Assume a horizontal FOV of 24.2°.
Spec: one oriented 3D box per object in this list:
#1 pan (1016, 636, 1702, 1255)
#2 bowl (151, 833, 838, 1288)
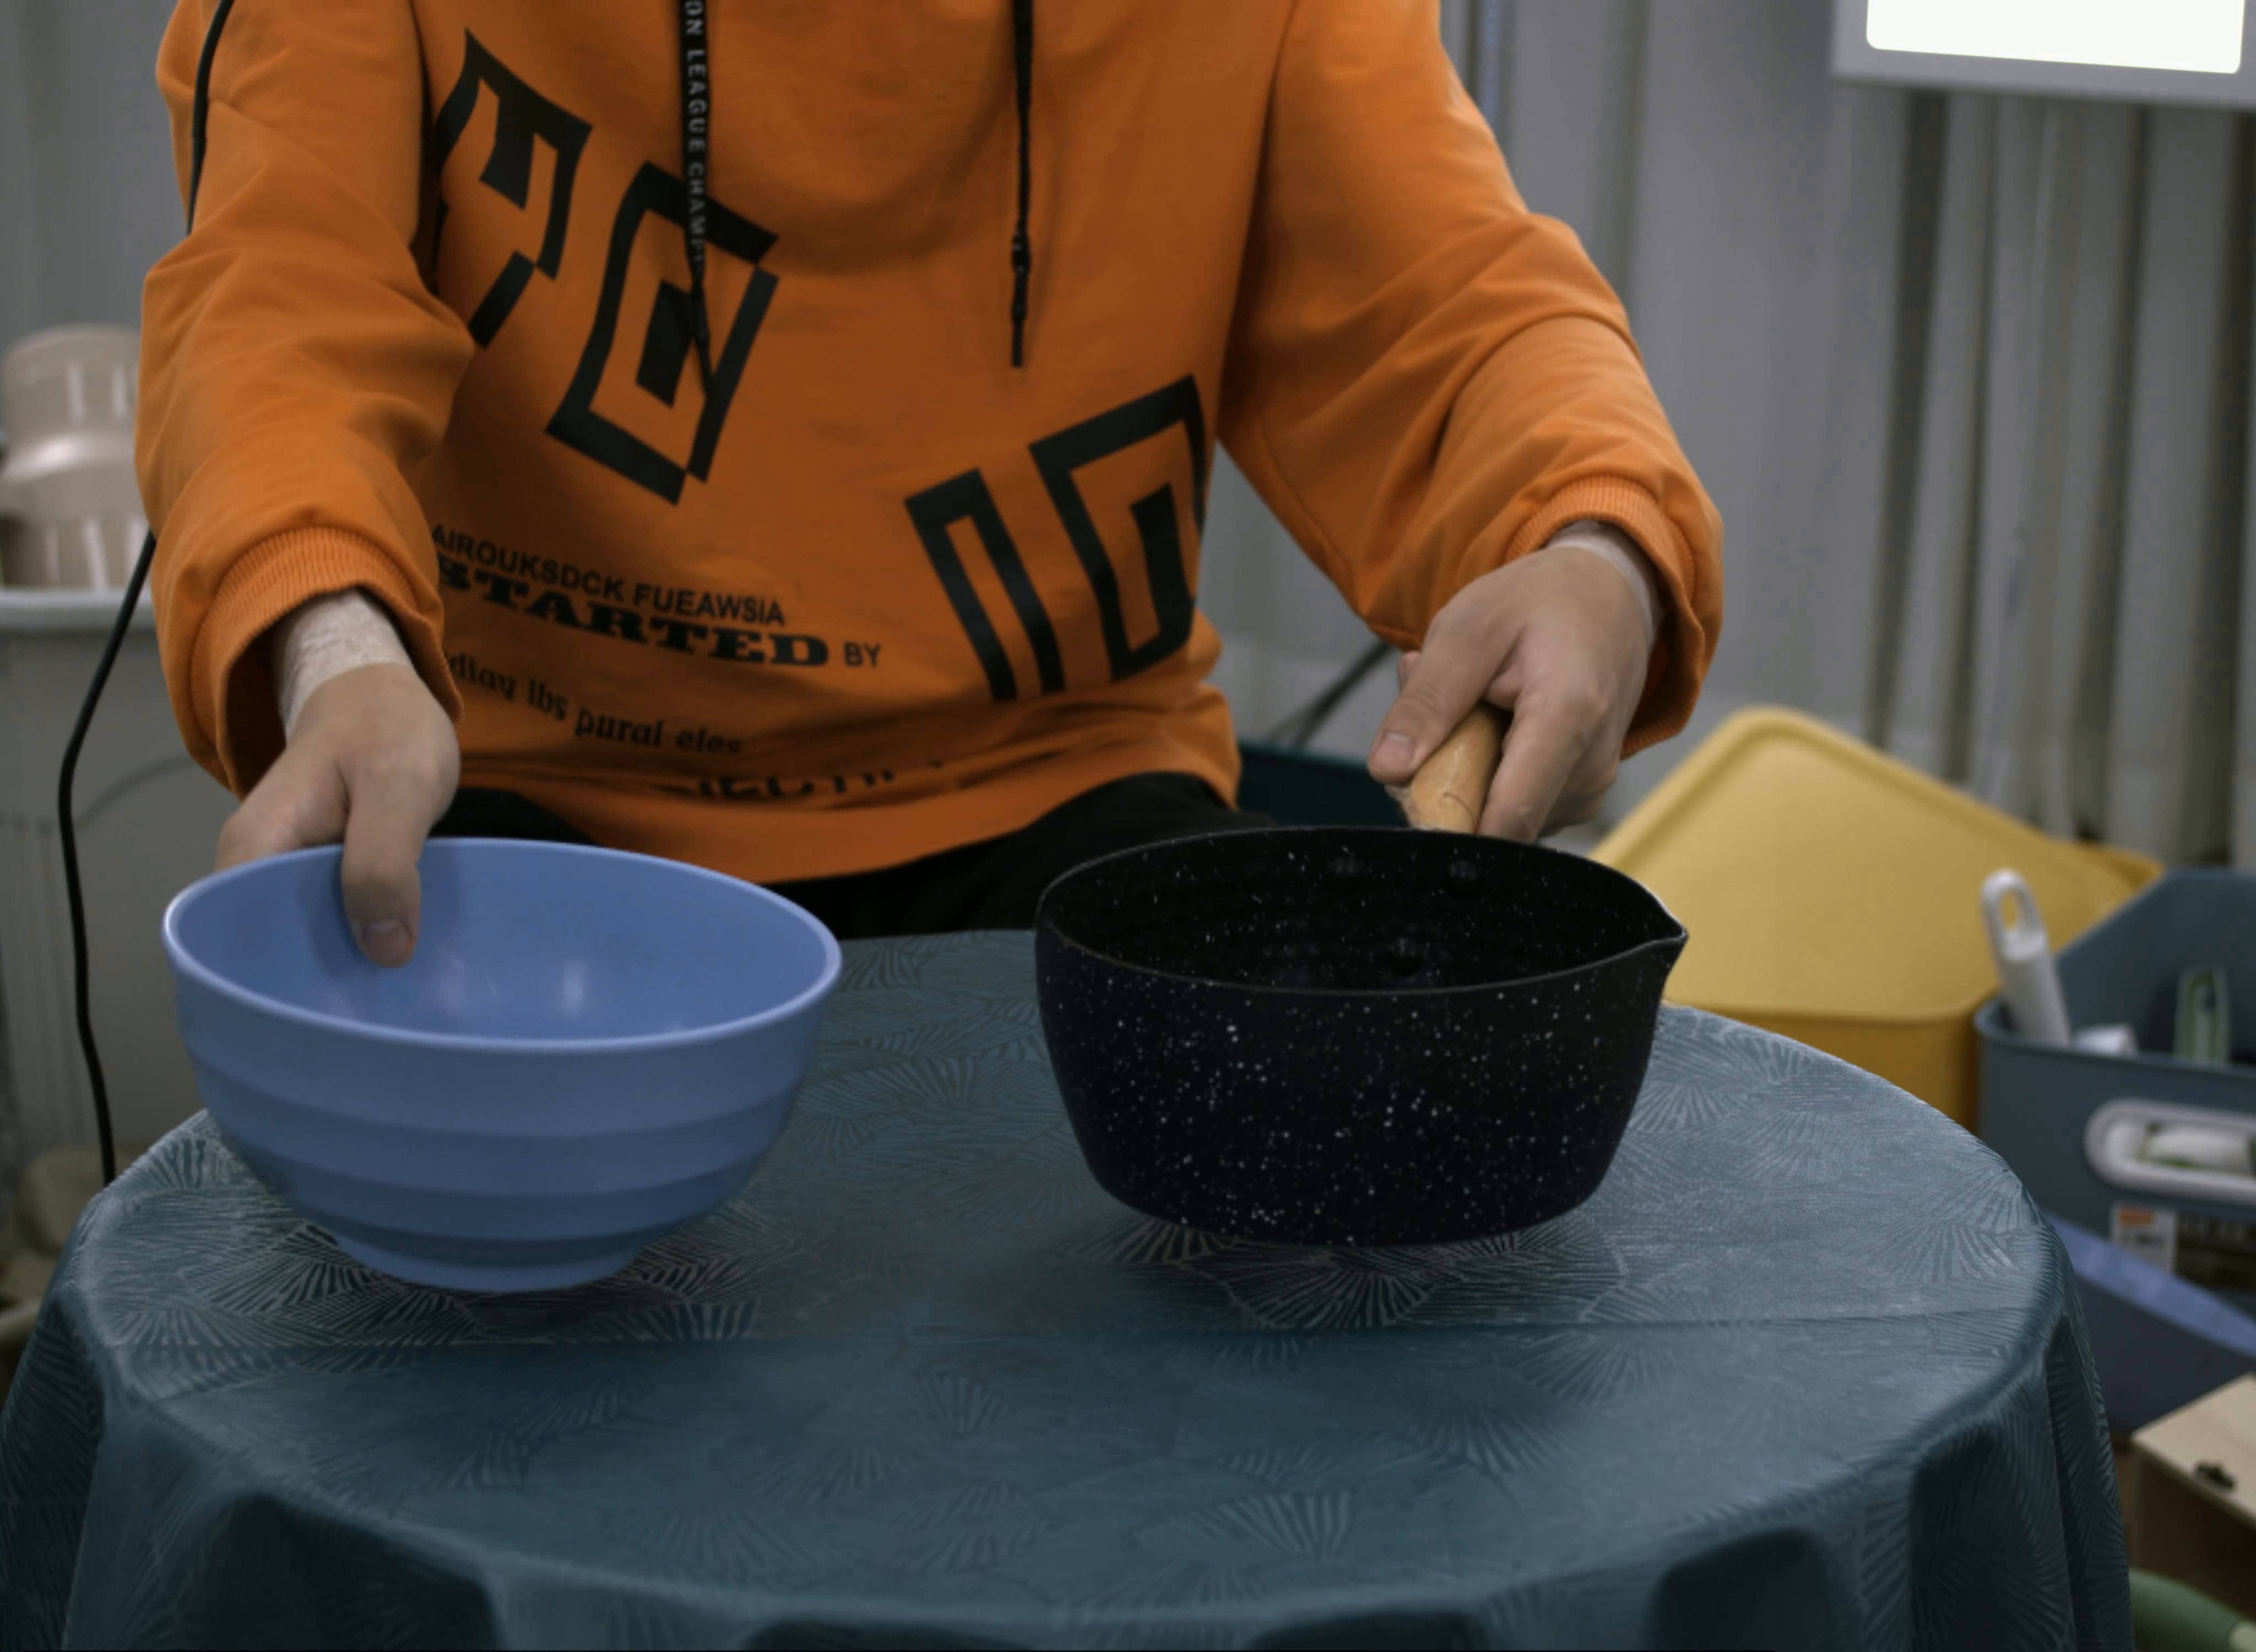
[{"bbox_3d":[0.082,0.031,1.624,0.206,0.109,0.342,3,16,12],"label":"pan"},{"bbox_3d":[-0.185,0.073,1.526,0.196,0.096,0.195,5,16,-1],"label":"bowl"}]
